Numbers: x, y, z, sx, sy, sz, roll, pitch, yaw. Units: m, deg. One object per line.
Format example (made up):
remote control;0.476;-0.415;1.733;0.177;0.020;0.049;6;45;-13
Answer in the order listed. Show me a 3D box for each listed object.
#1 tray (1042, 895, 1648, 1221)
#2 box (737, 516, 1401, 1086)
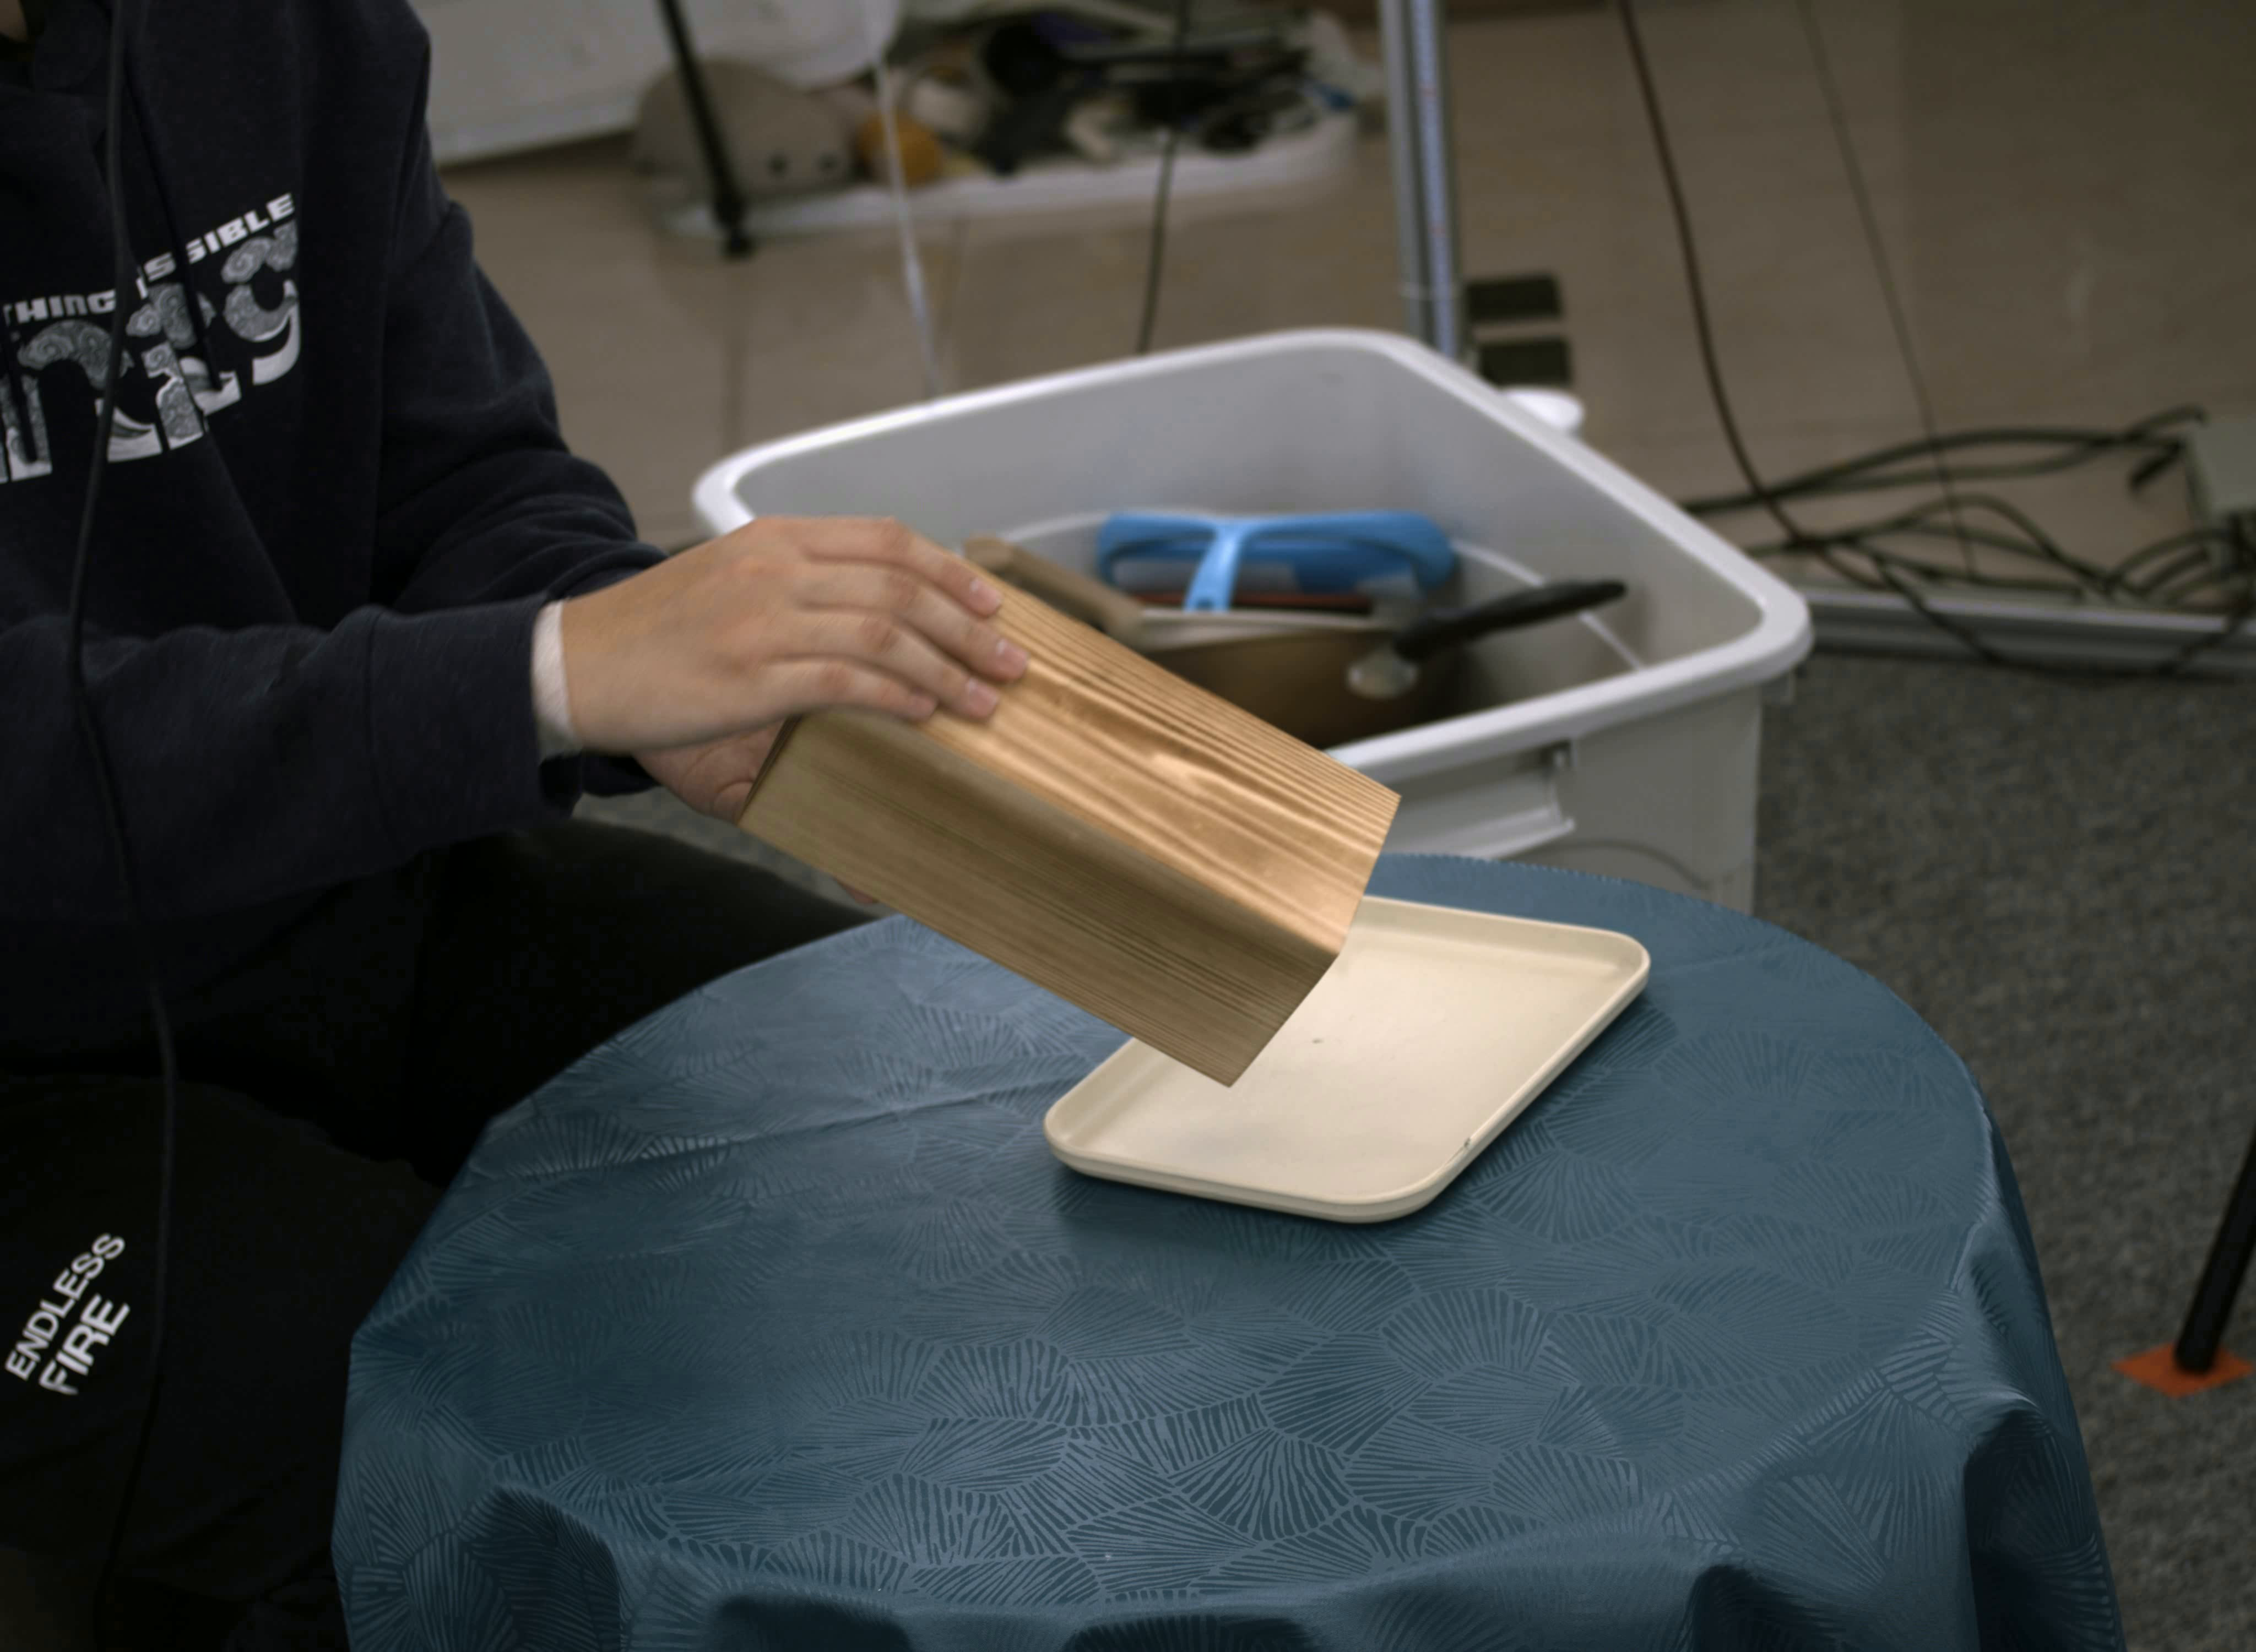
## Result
tray;0.087;0.089;2.214;0.170;0.018;0.237;8;28;30
box;-0.022;-0.008;2.082;0.212;0.109;0.079;29;51;-7
